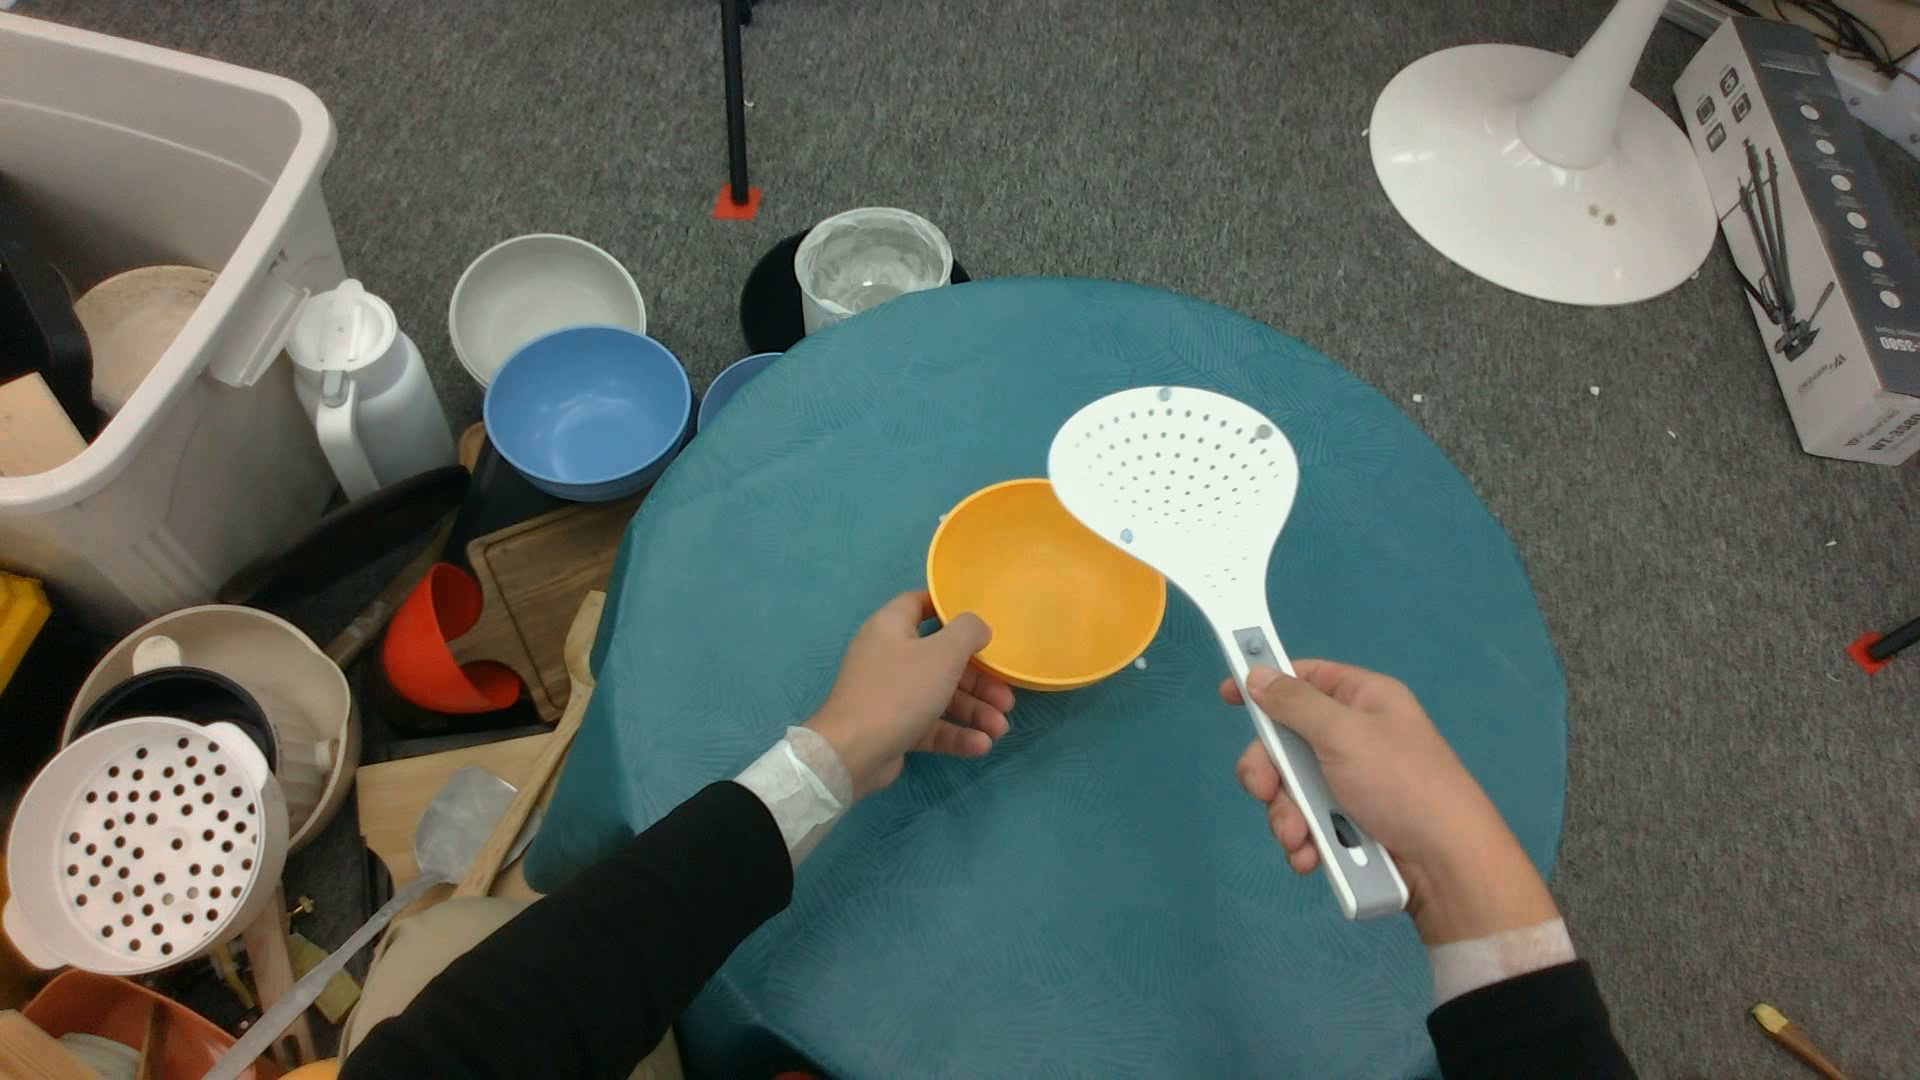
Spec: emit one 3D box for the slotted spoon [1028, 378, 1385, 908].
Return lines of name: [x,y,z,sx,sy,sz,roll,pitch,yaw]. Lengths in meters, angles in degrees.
slotted spoon: [0.129,0.031,0.692,0.136,0.045,0.351,-9,40,-8]

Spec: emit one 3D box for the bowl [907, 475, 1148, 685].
bowl: [0.038,0.034,0.840,0.145,0.060,0.146,3,55,-5]
